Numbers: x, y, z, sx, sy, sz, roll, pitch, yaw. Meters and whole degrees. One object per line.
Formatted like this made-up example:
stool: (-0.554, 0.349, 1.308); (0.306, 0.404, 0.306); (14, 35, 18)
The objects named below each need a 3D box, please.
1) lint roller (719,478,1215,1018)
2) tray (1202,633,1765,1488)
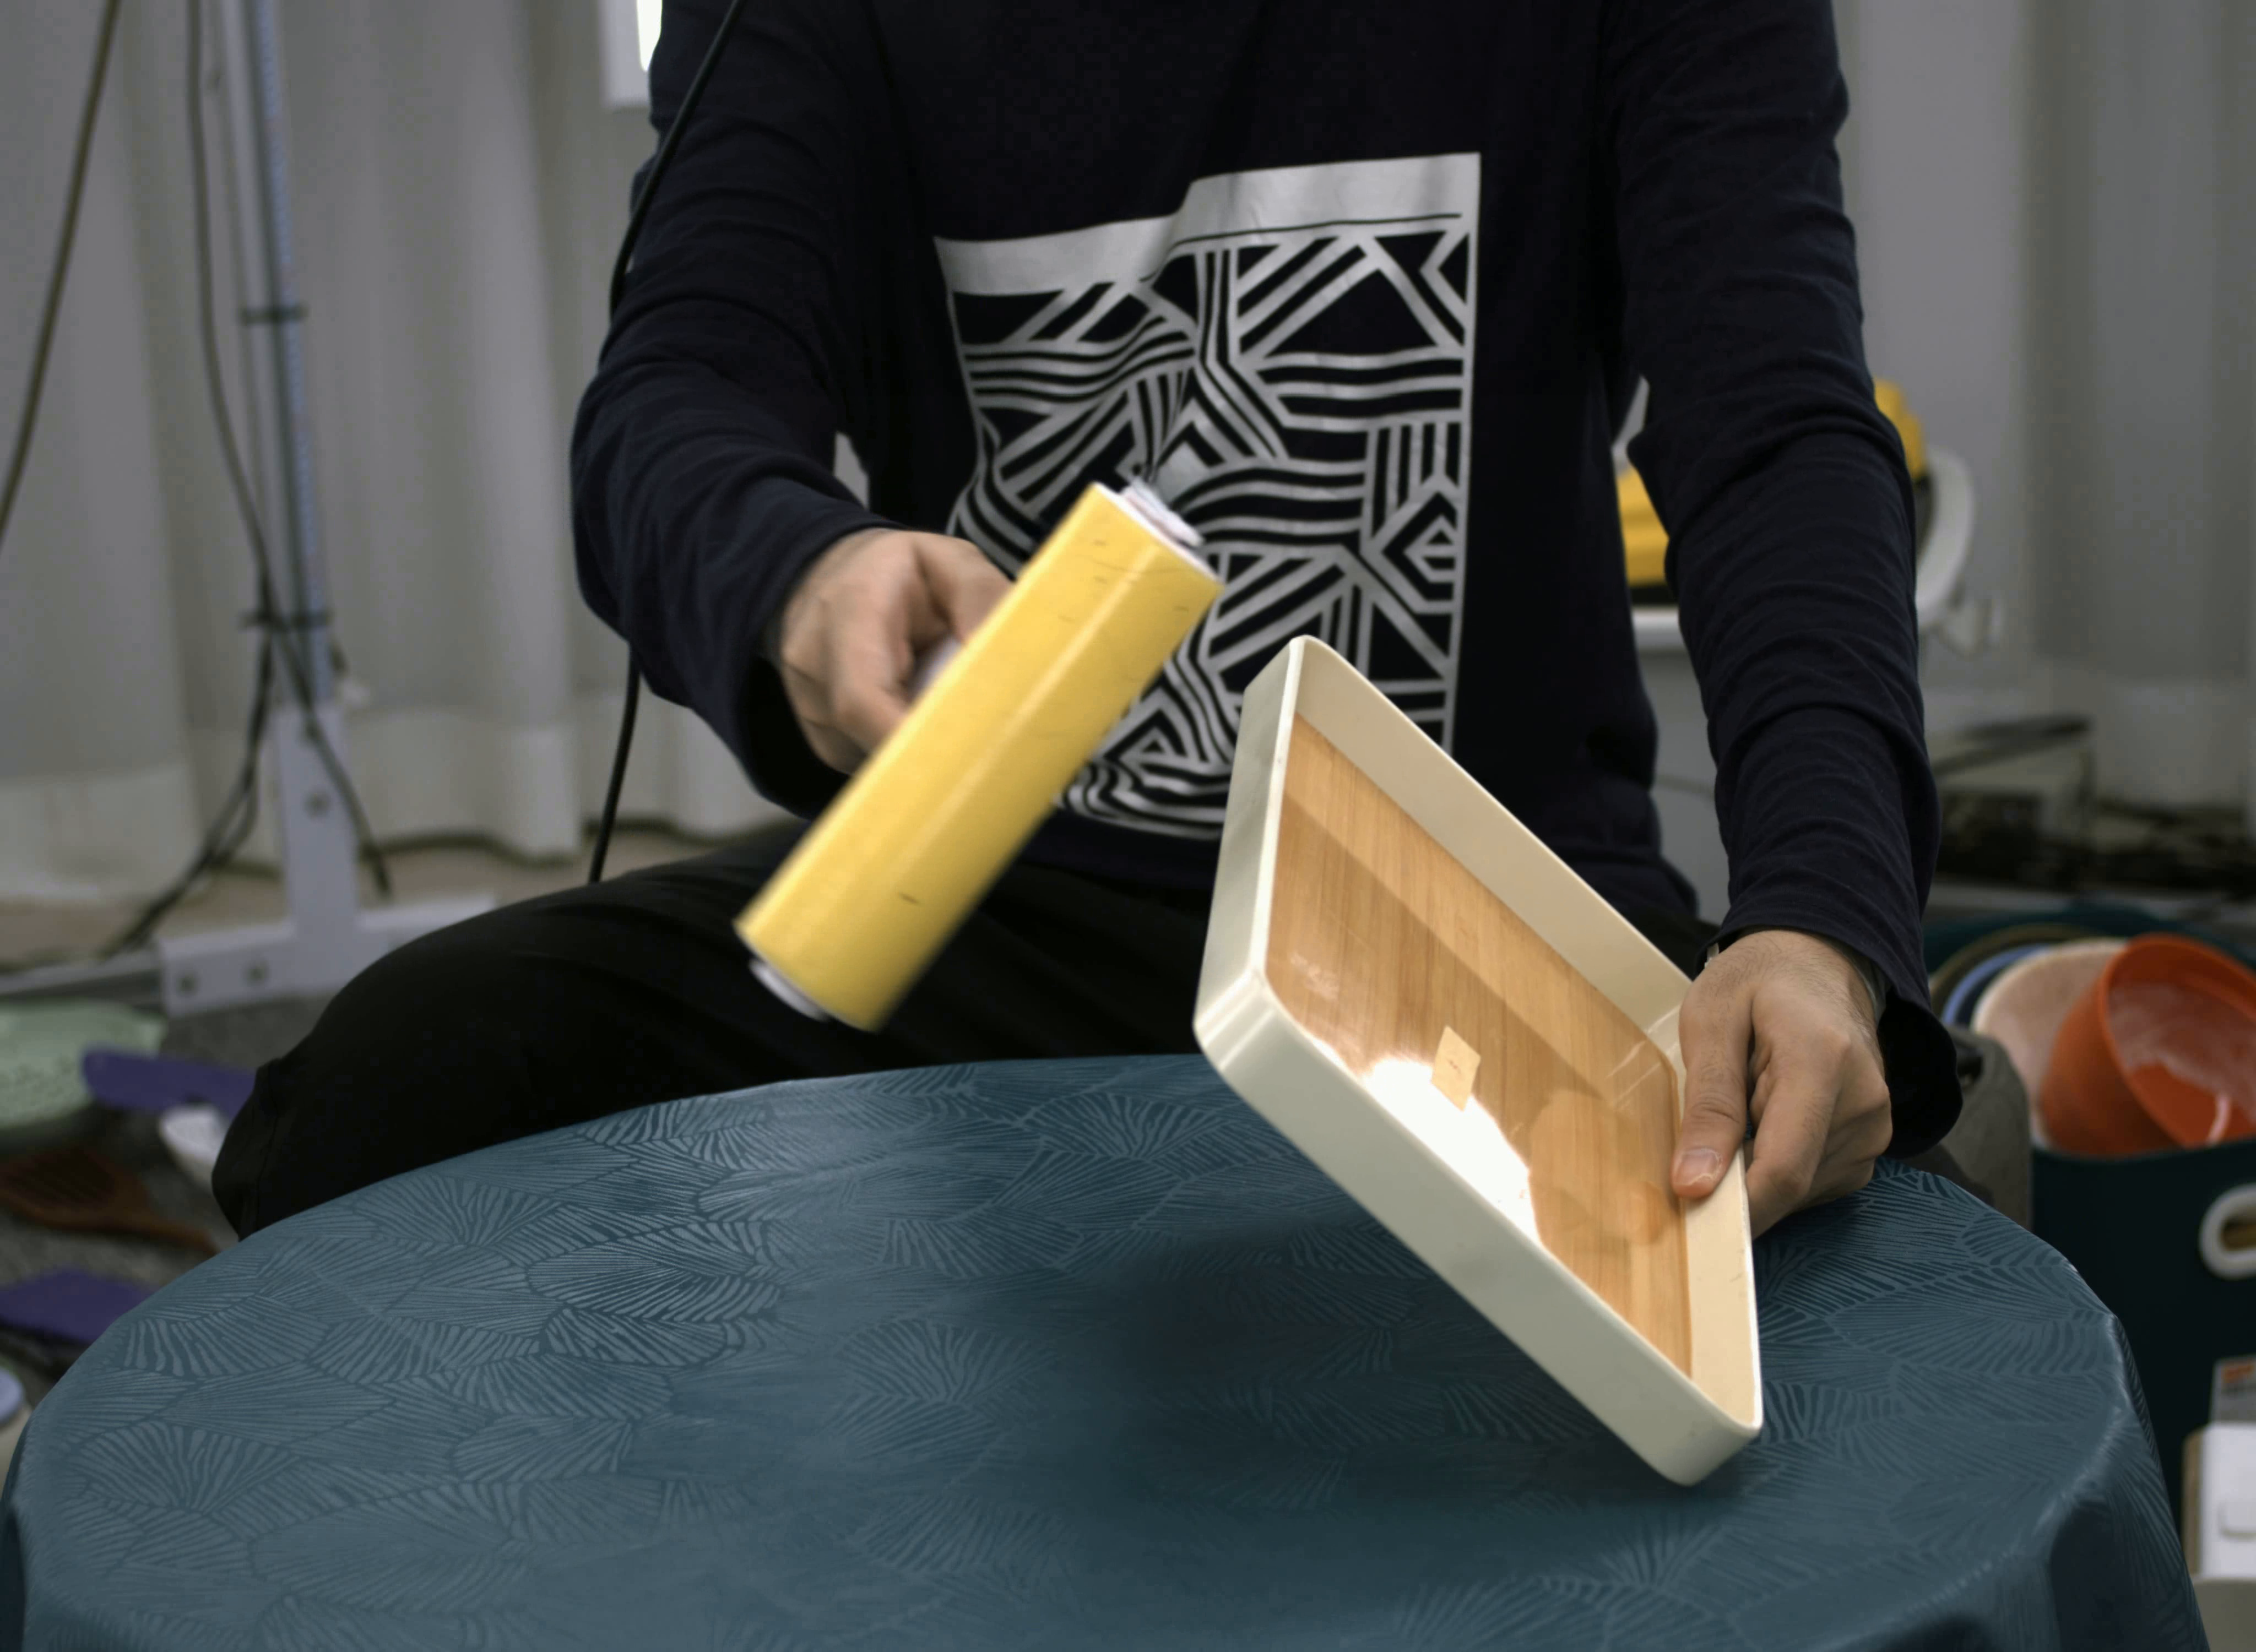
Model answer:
lint roller: (-0.062, -0.039, 1.595); (0.051, 0.174, 0.194); (40, 2, -22)
tray: (0.102, 0.059, 1.564); (0.027, 0.190, 0.303); (-44, 11, 17)
